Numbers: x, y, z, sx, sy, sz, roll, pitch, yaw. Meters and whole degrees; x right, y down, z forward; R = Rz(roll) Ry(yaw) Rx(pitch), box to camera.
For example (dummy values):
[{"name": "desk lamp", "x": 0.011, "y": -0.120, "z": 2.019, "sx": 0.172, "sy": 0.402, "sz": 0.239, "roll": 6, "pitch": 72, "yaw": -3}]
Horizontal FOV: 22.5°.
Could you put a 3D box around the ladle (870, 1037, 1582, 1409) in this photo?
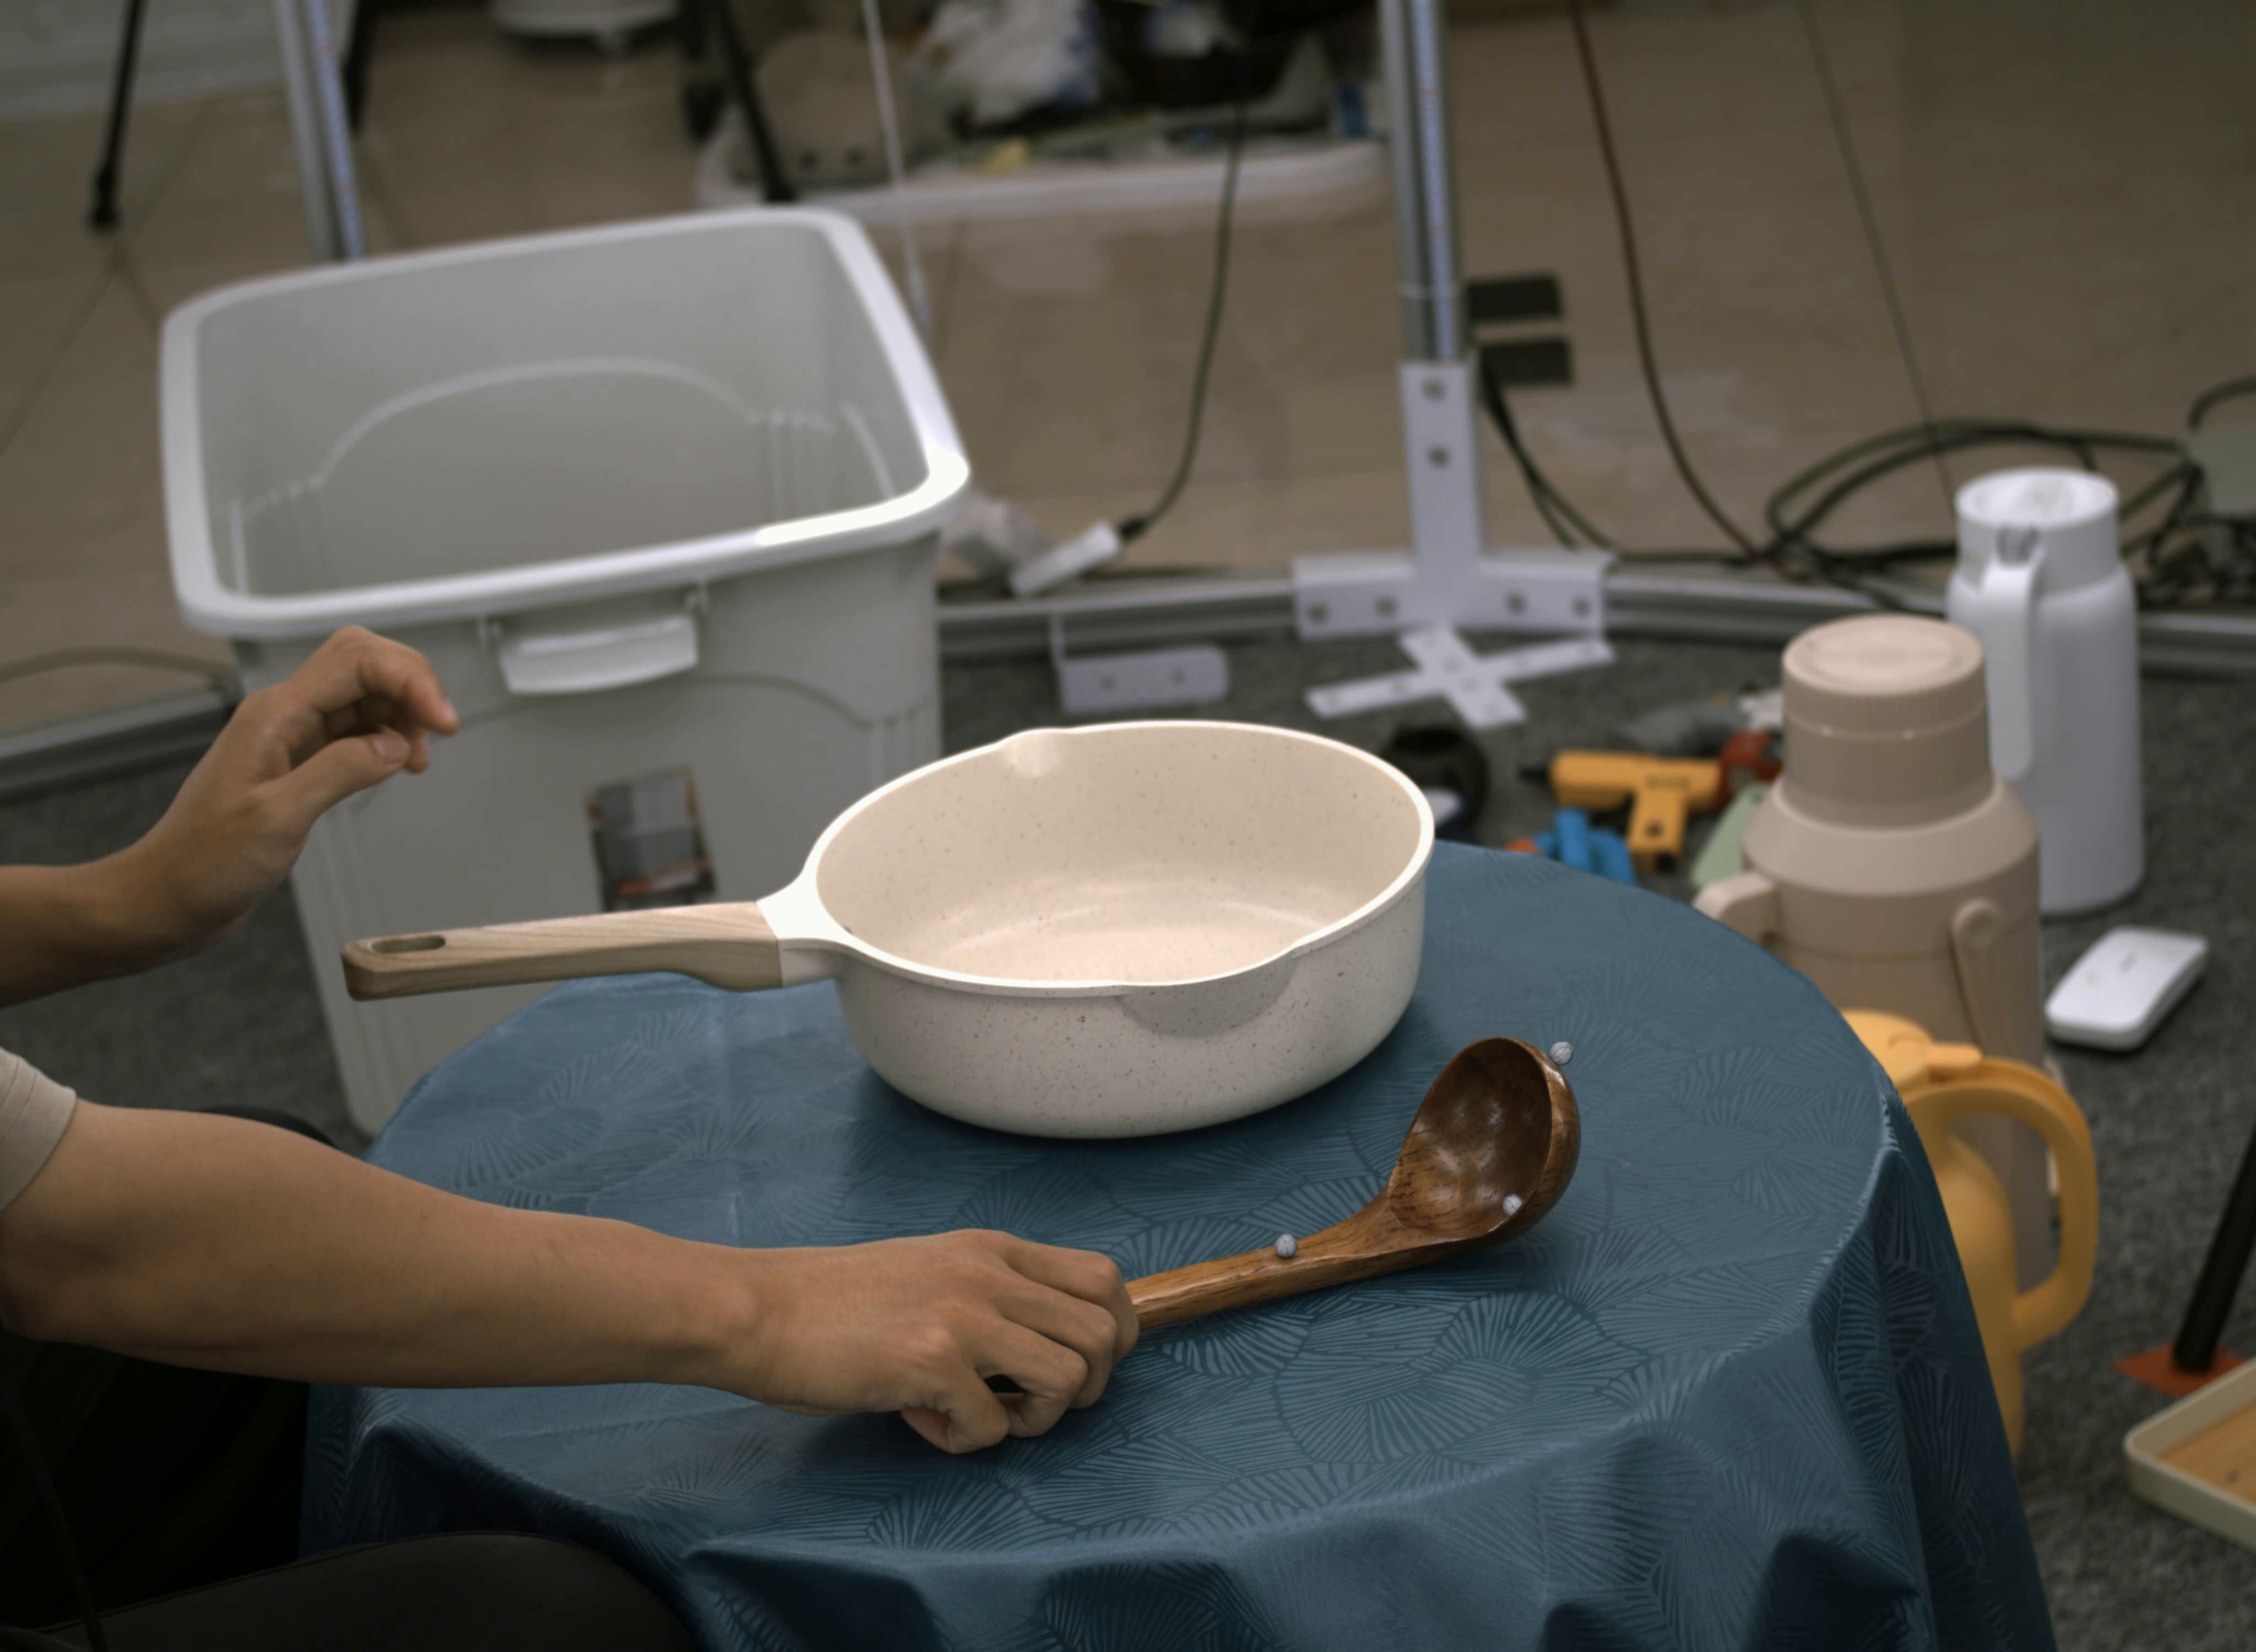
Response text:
[{"name": "ladle", "x": 0.036, "y": 0.142, "z": 2.043, "sx": 0.273, "sy": 0.078, "sz": 0.081, "roll": -14, "pitch": 29, "yaw": -17}]

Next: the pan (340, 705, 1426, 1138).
[{"name": "pan", "x": -0.091, "y": 0.054, "z": 2.239, "sx": 0.433, "sy": 0.104, "sz": 0.259, "roll": -12, "pitch": 27, "yaw": -13}]
